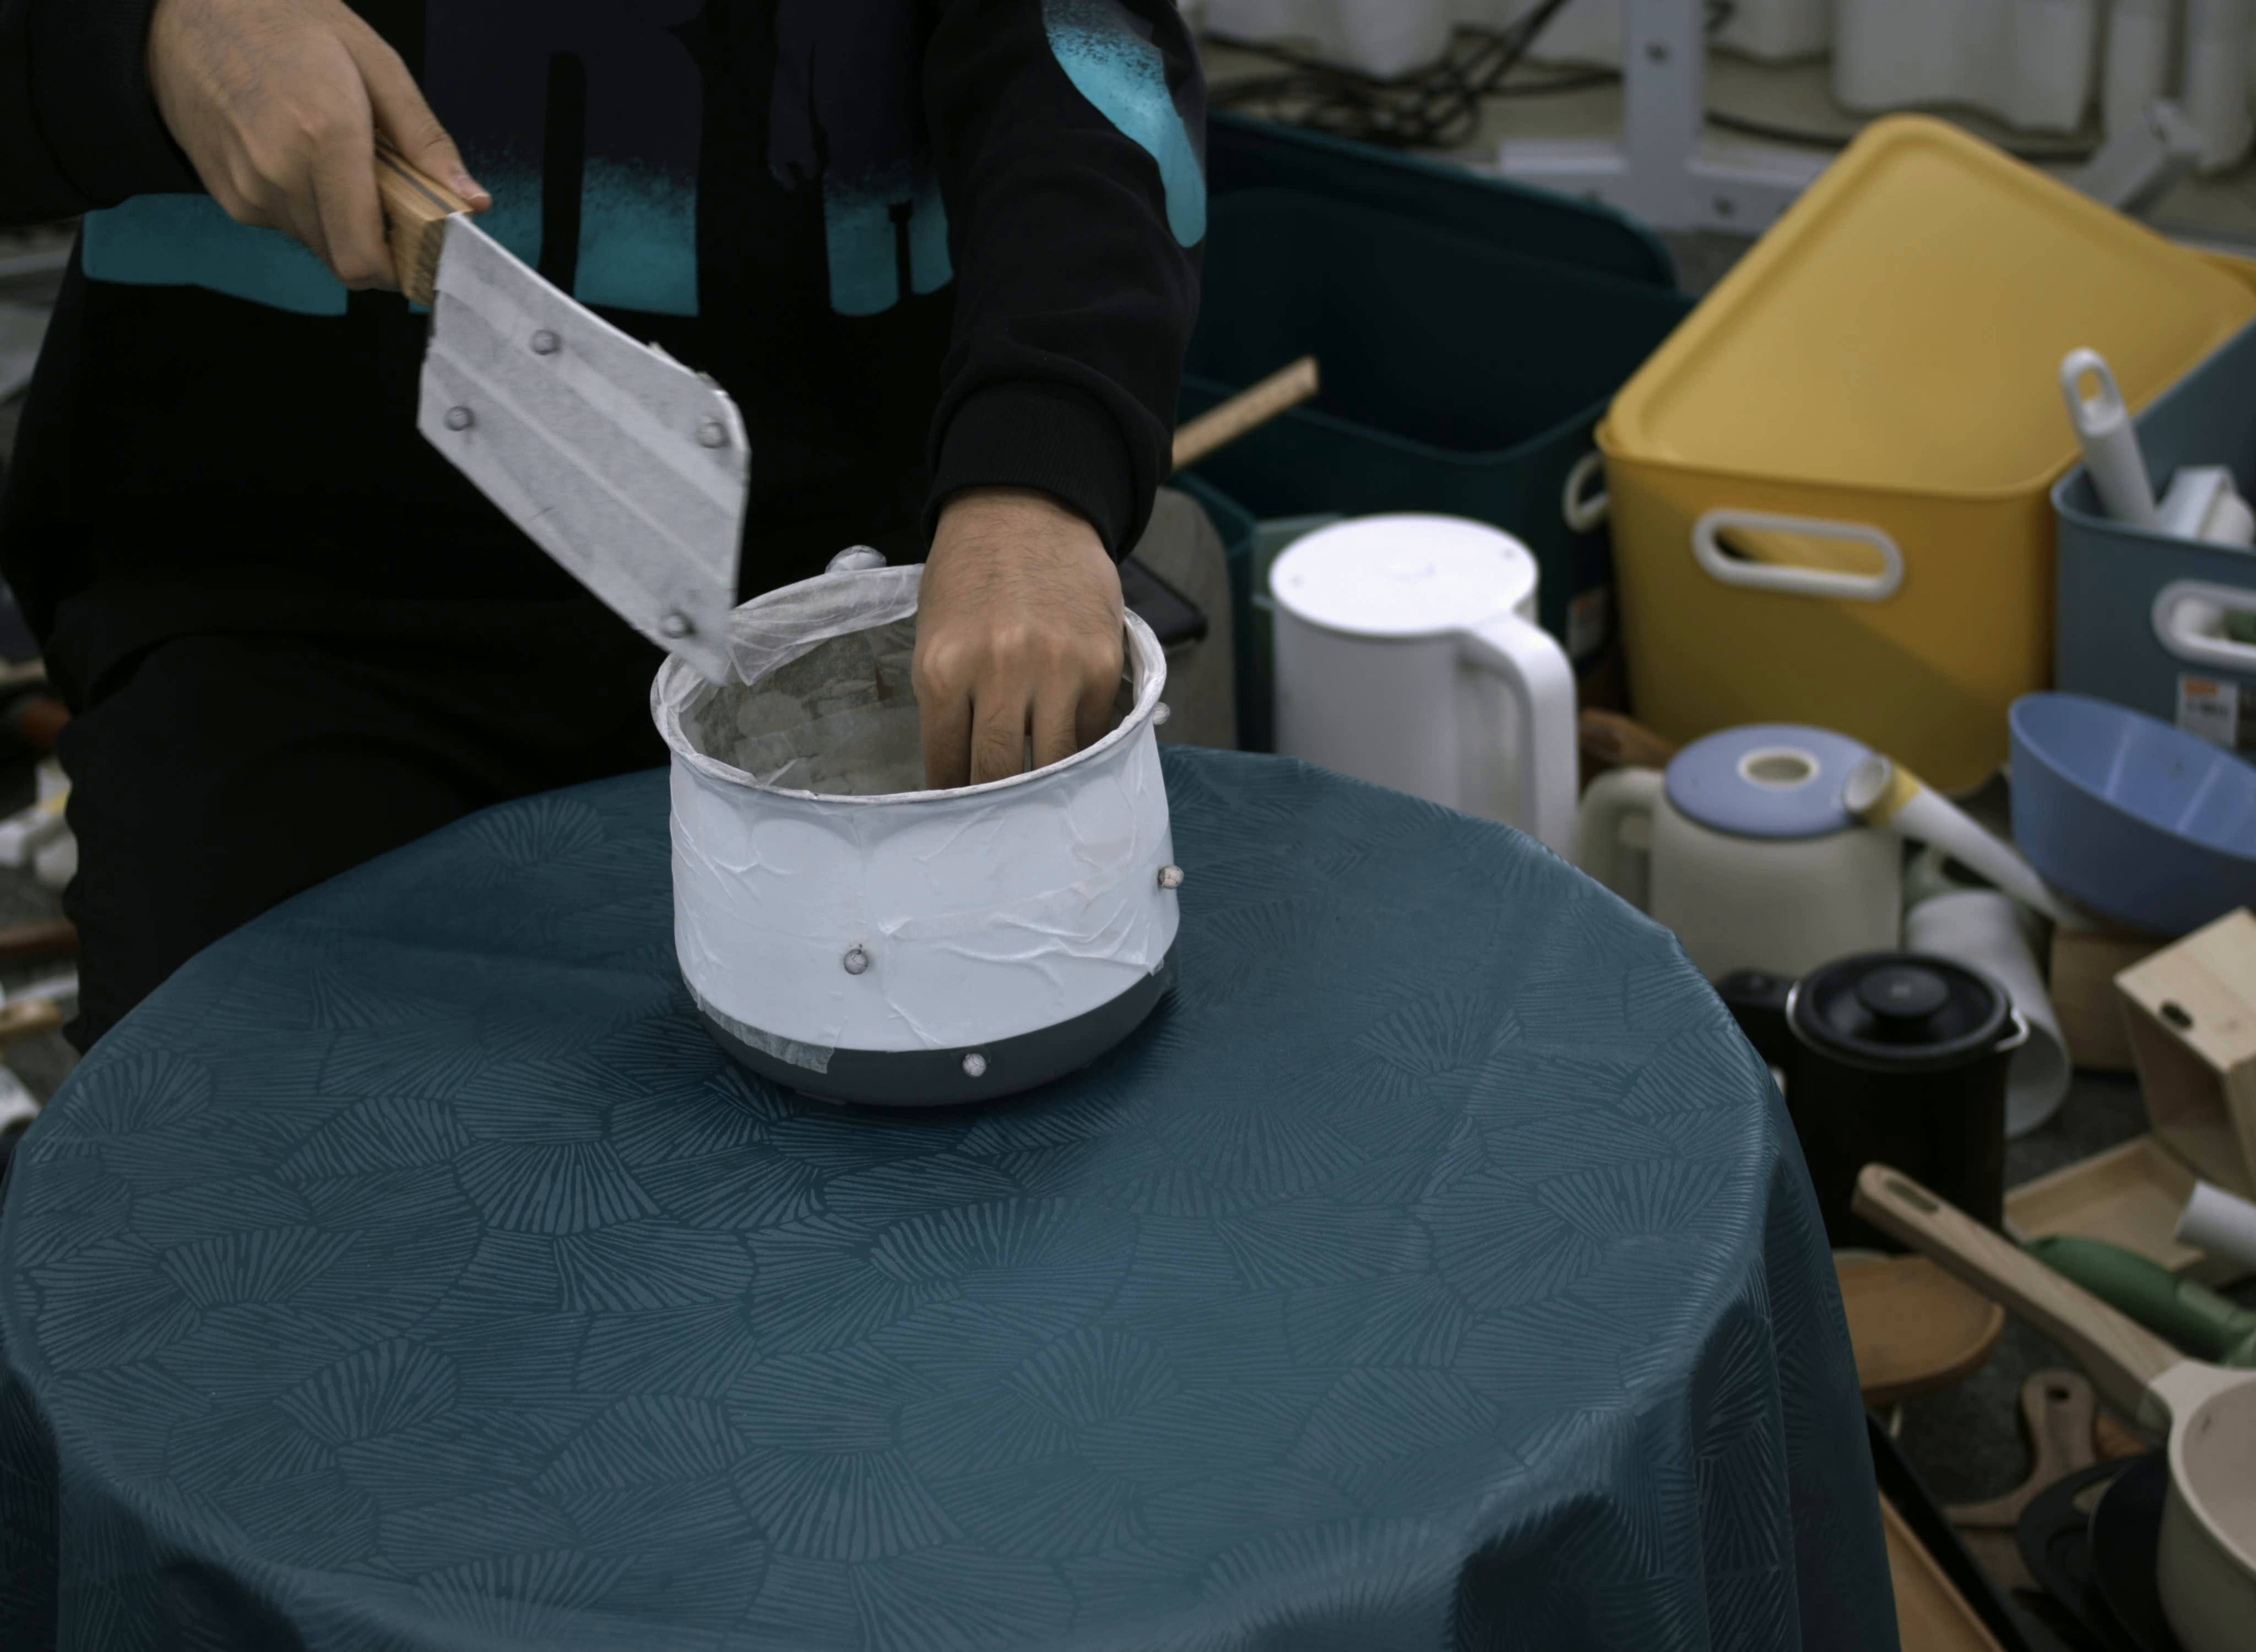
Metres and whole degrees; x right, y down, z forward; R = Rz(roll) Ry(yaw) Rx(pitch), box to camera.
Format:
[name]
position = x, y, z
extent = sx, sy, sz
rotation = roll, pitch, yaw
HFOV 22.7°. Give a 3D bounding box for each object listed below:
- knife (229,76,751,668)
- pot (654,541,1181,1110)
[knife]
position = -0.213, -0.167, 1.886
extent = 0.022, 0.112, 0.317
rotation = -14, 42, -37
[pot]
position = -0.077, -0.007, 1.970
extent = 0.178, 0.135, 0.236
rotation = -8, 29, -11
